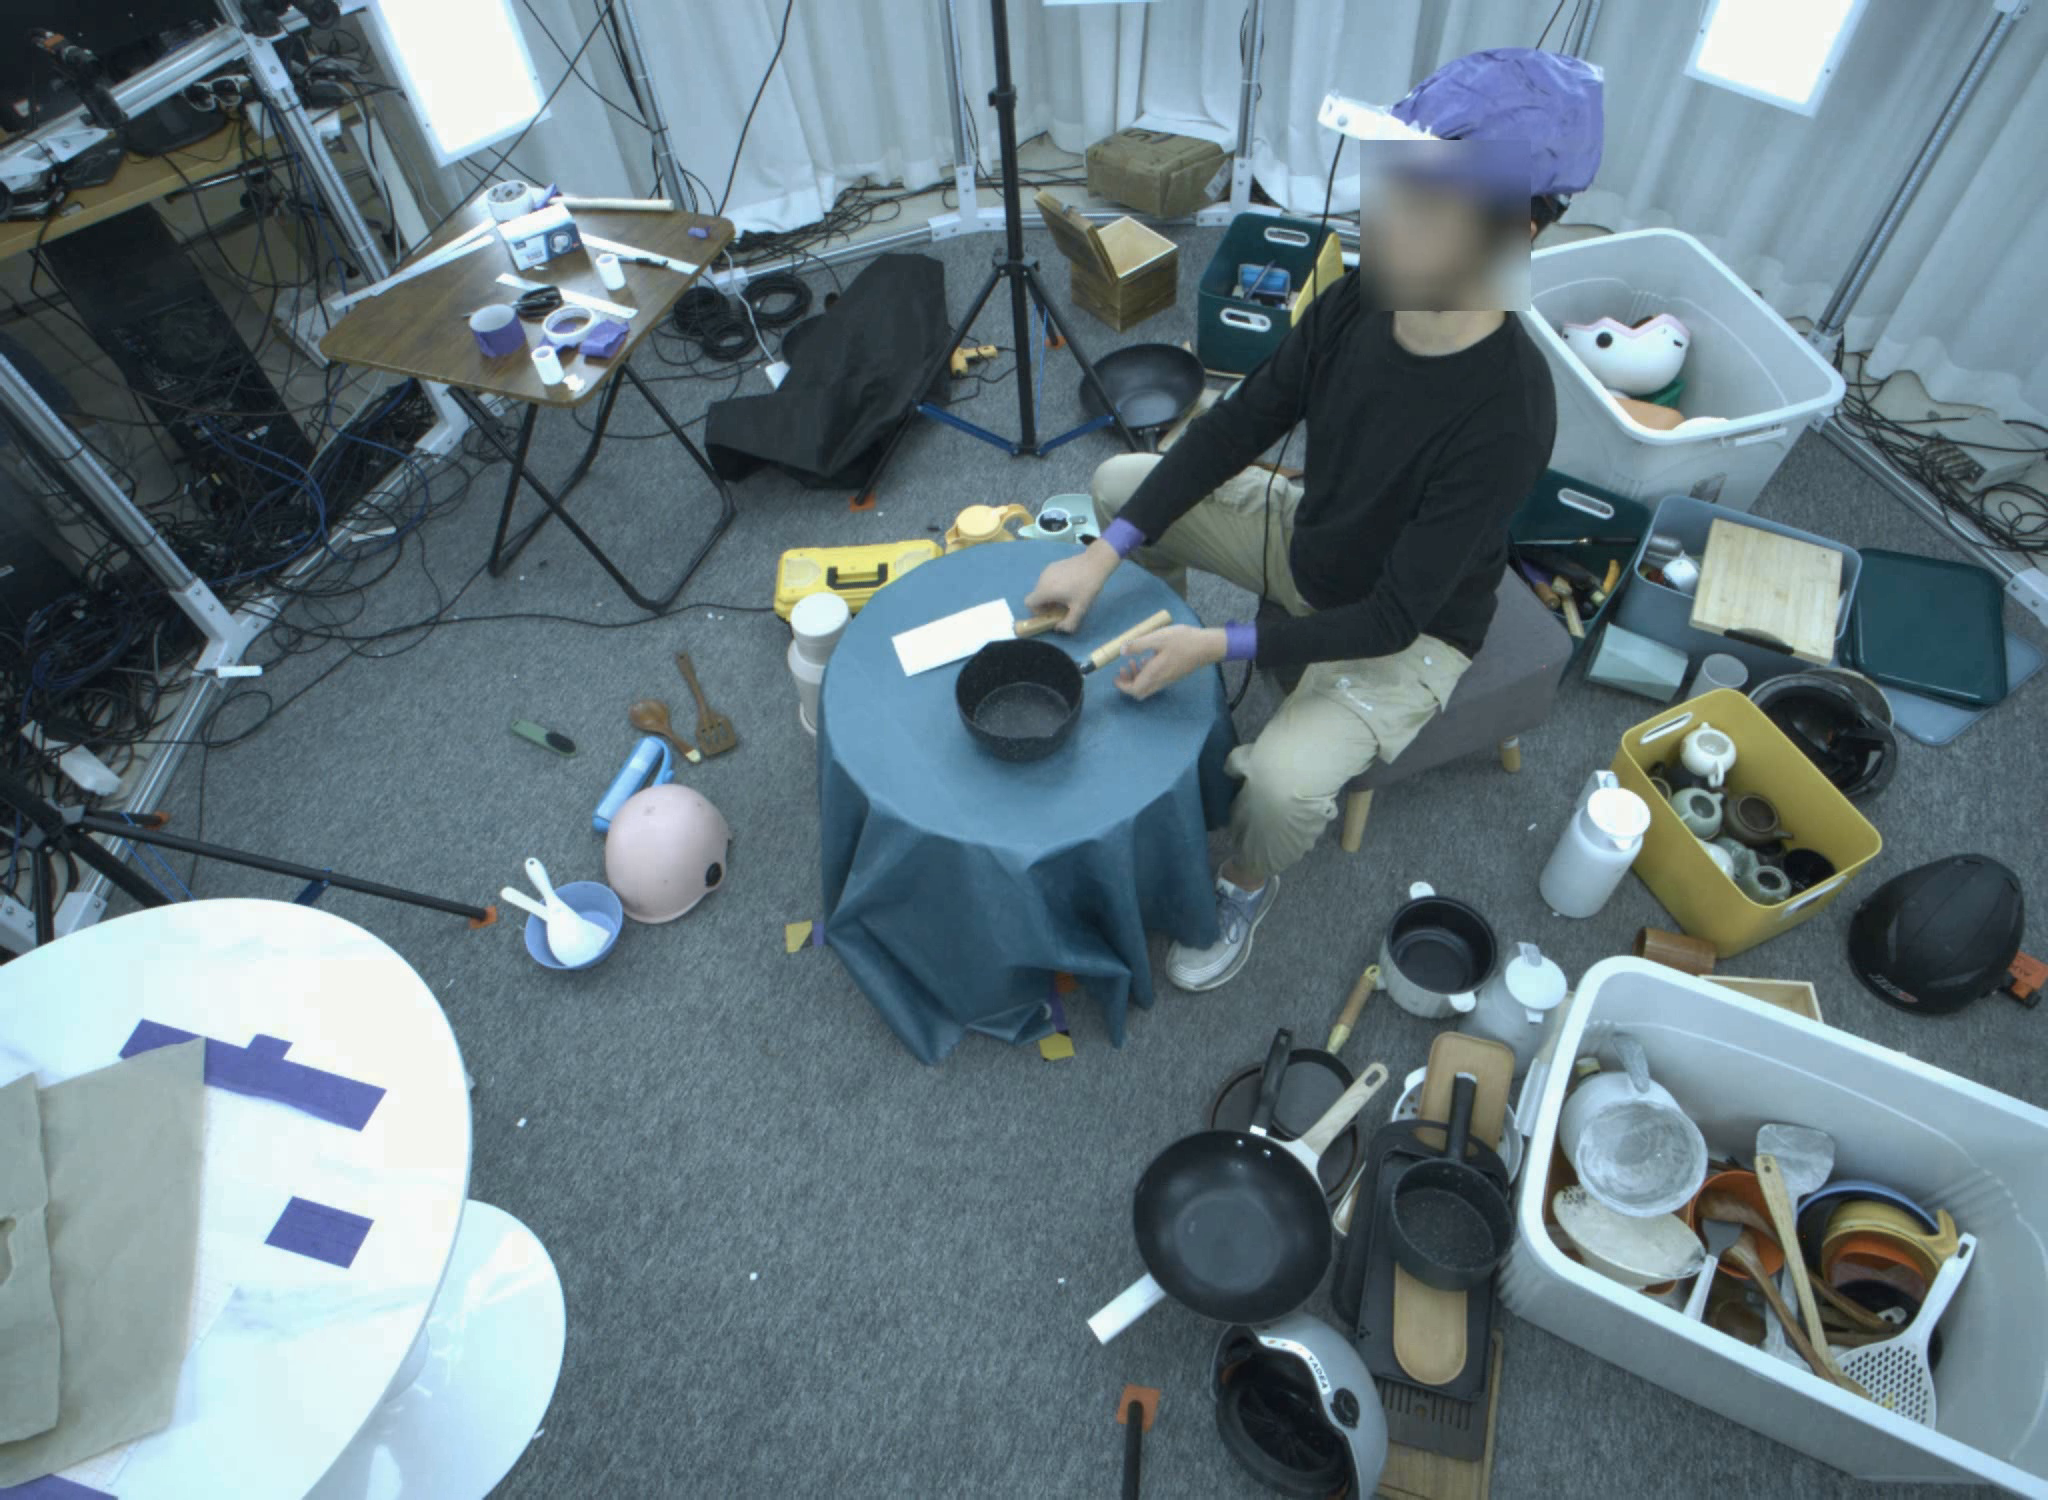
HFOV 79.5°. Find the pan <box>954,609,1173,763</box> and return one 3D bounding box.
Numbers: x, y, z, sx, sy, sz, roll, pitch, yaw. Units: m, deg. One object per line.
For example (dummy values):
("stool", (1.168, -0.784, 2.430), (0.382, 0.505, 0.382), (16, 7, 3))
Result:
("pan", (0.064, -0.106, 1.791), (0.345, 0.109, 0.203), (-25, 57, -14))

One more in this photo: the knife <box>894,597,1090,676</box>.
("knife", (-0.053, -0.194, 1.912), (0.307, 0.021, 0.091), (-19, 55, -8))
